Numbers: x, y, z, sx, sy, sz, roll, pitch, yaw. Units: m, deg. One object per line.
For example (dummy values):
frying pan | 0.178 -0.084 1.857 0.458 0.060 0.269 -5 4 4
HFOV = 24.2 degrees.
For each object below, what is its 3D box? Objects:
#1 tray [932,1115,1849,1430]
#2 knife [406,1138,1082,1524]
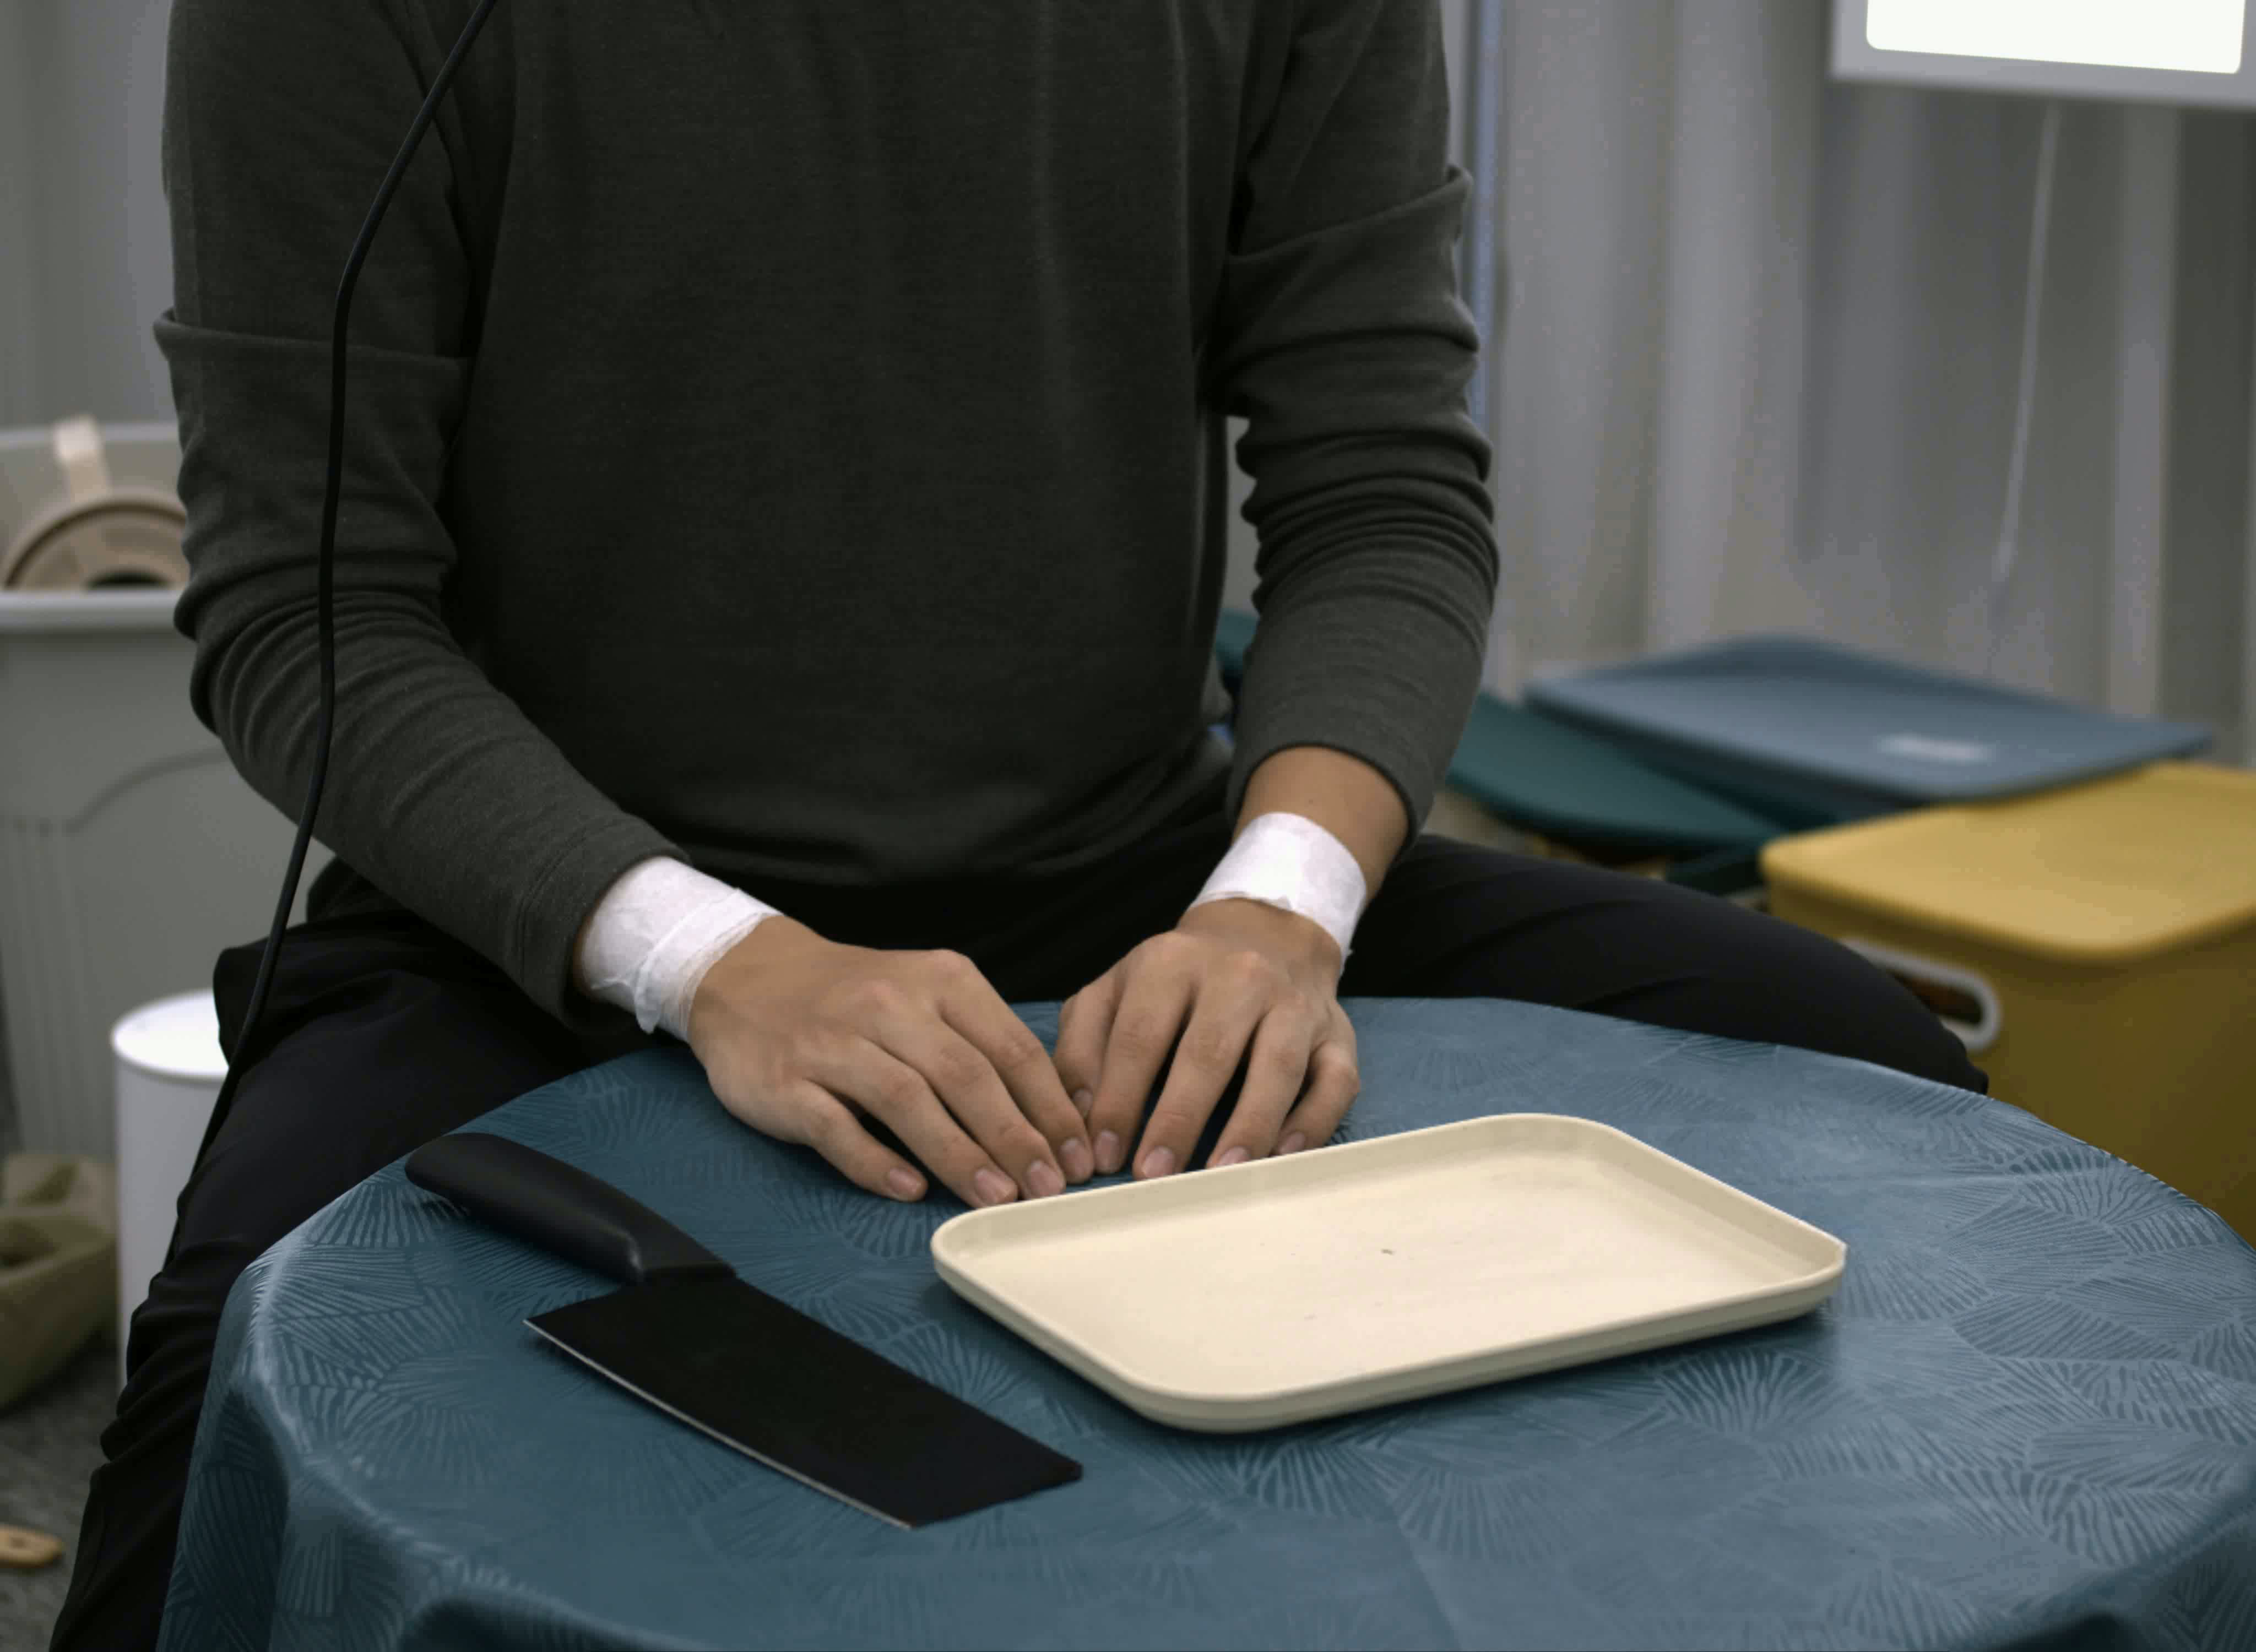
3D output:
tray | 0.076 0.129 1.535 0.241 0.017 0.169 -8 17 -29
knife | -0.125 0.141 1.493 0.081 0.021 0.298 -11 21 -33
